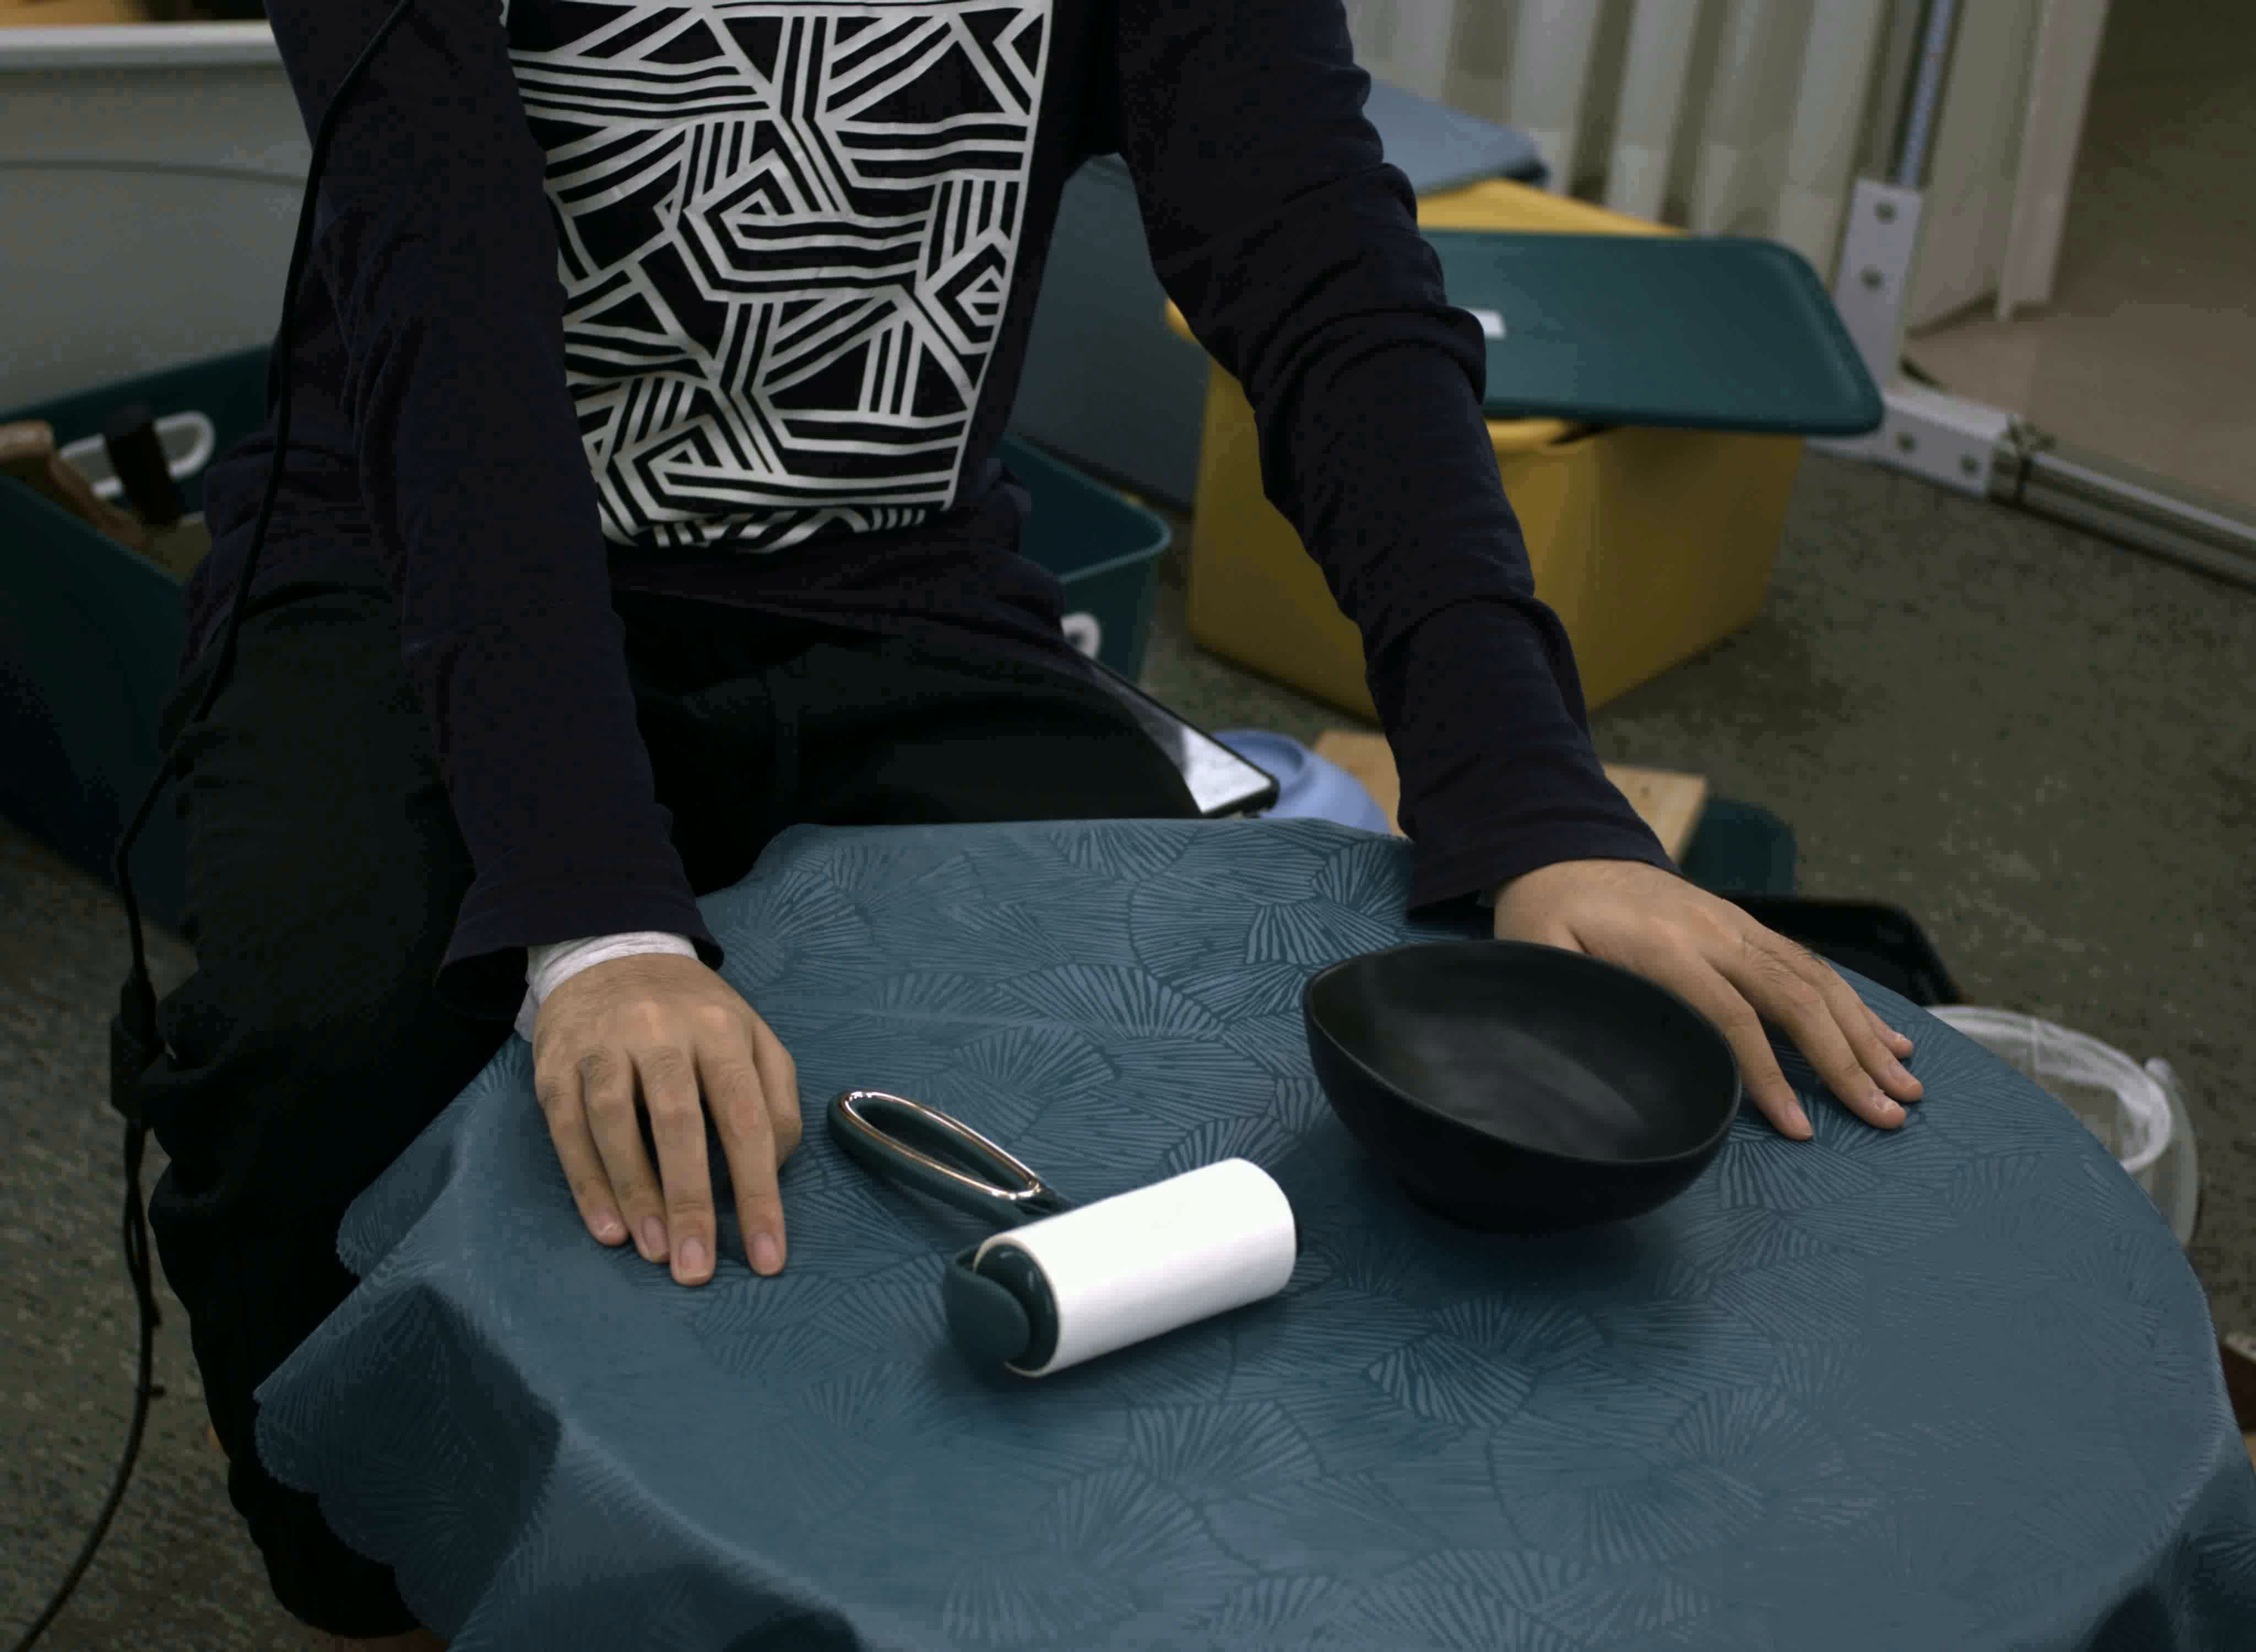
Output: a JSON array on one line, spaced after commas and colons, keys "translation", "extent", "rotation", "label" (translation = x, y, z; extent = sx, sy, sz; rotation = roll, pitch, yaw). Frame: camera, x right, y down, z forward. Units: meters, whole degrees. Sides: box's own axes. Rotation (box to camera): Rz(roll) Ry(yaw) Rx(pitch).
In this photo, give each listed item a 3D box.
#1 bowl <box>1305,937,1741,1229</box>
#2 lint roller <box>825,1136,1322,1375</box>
[{"translation": [0.130, 0.095, 1.819], "extent": [0.136, 0.066, 0.172], "rotation": [-13, 31, -34], "label": "bowl"}, {"translation": [-0.041, 0.120, 1.764], "extent": [0.133, 0.048, 0.181], "rotation": [-16, 29, -36], "label": "lint roller"}]
